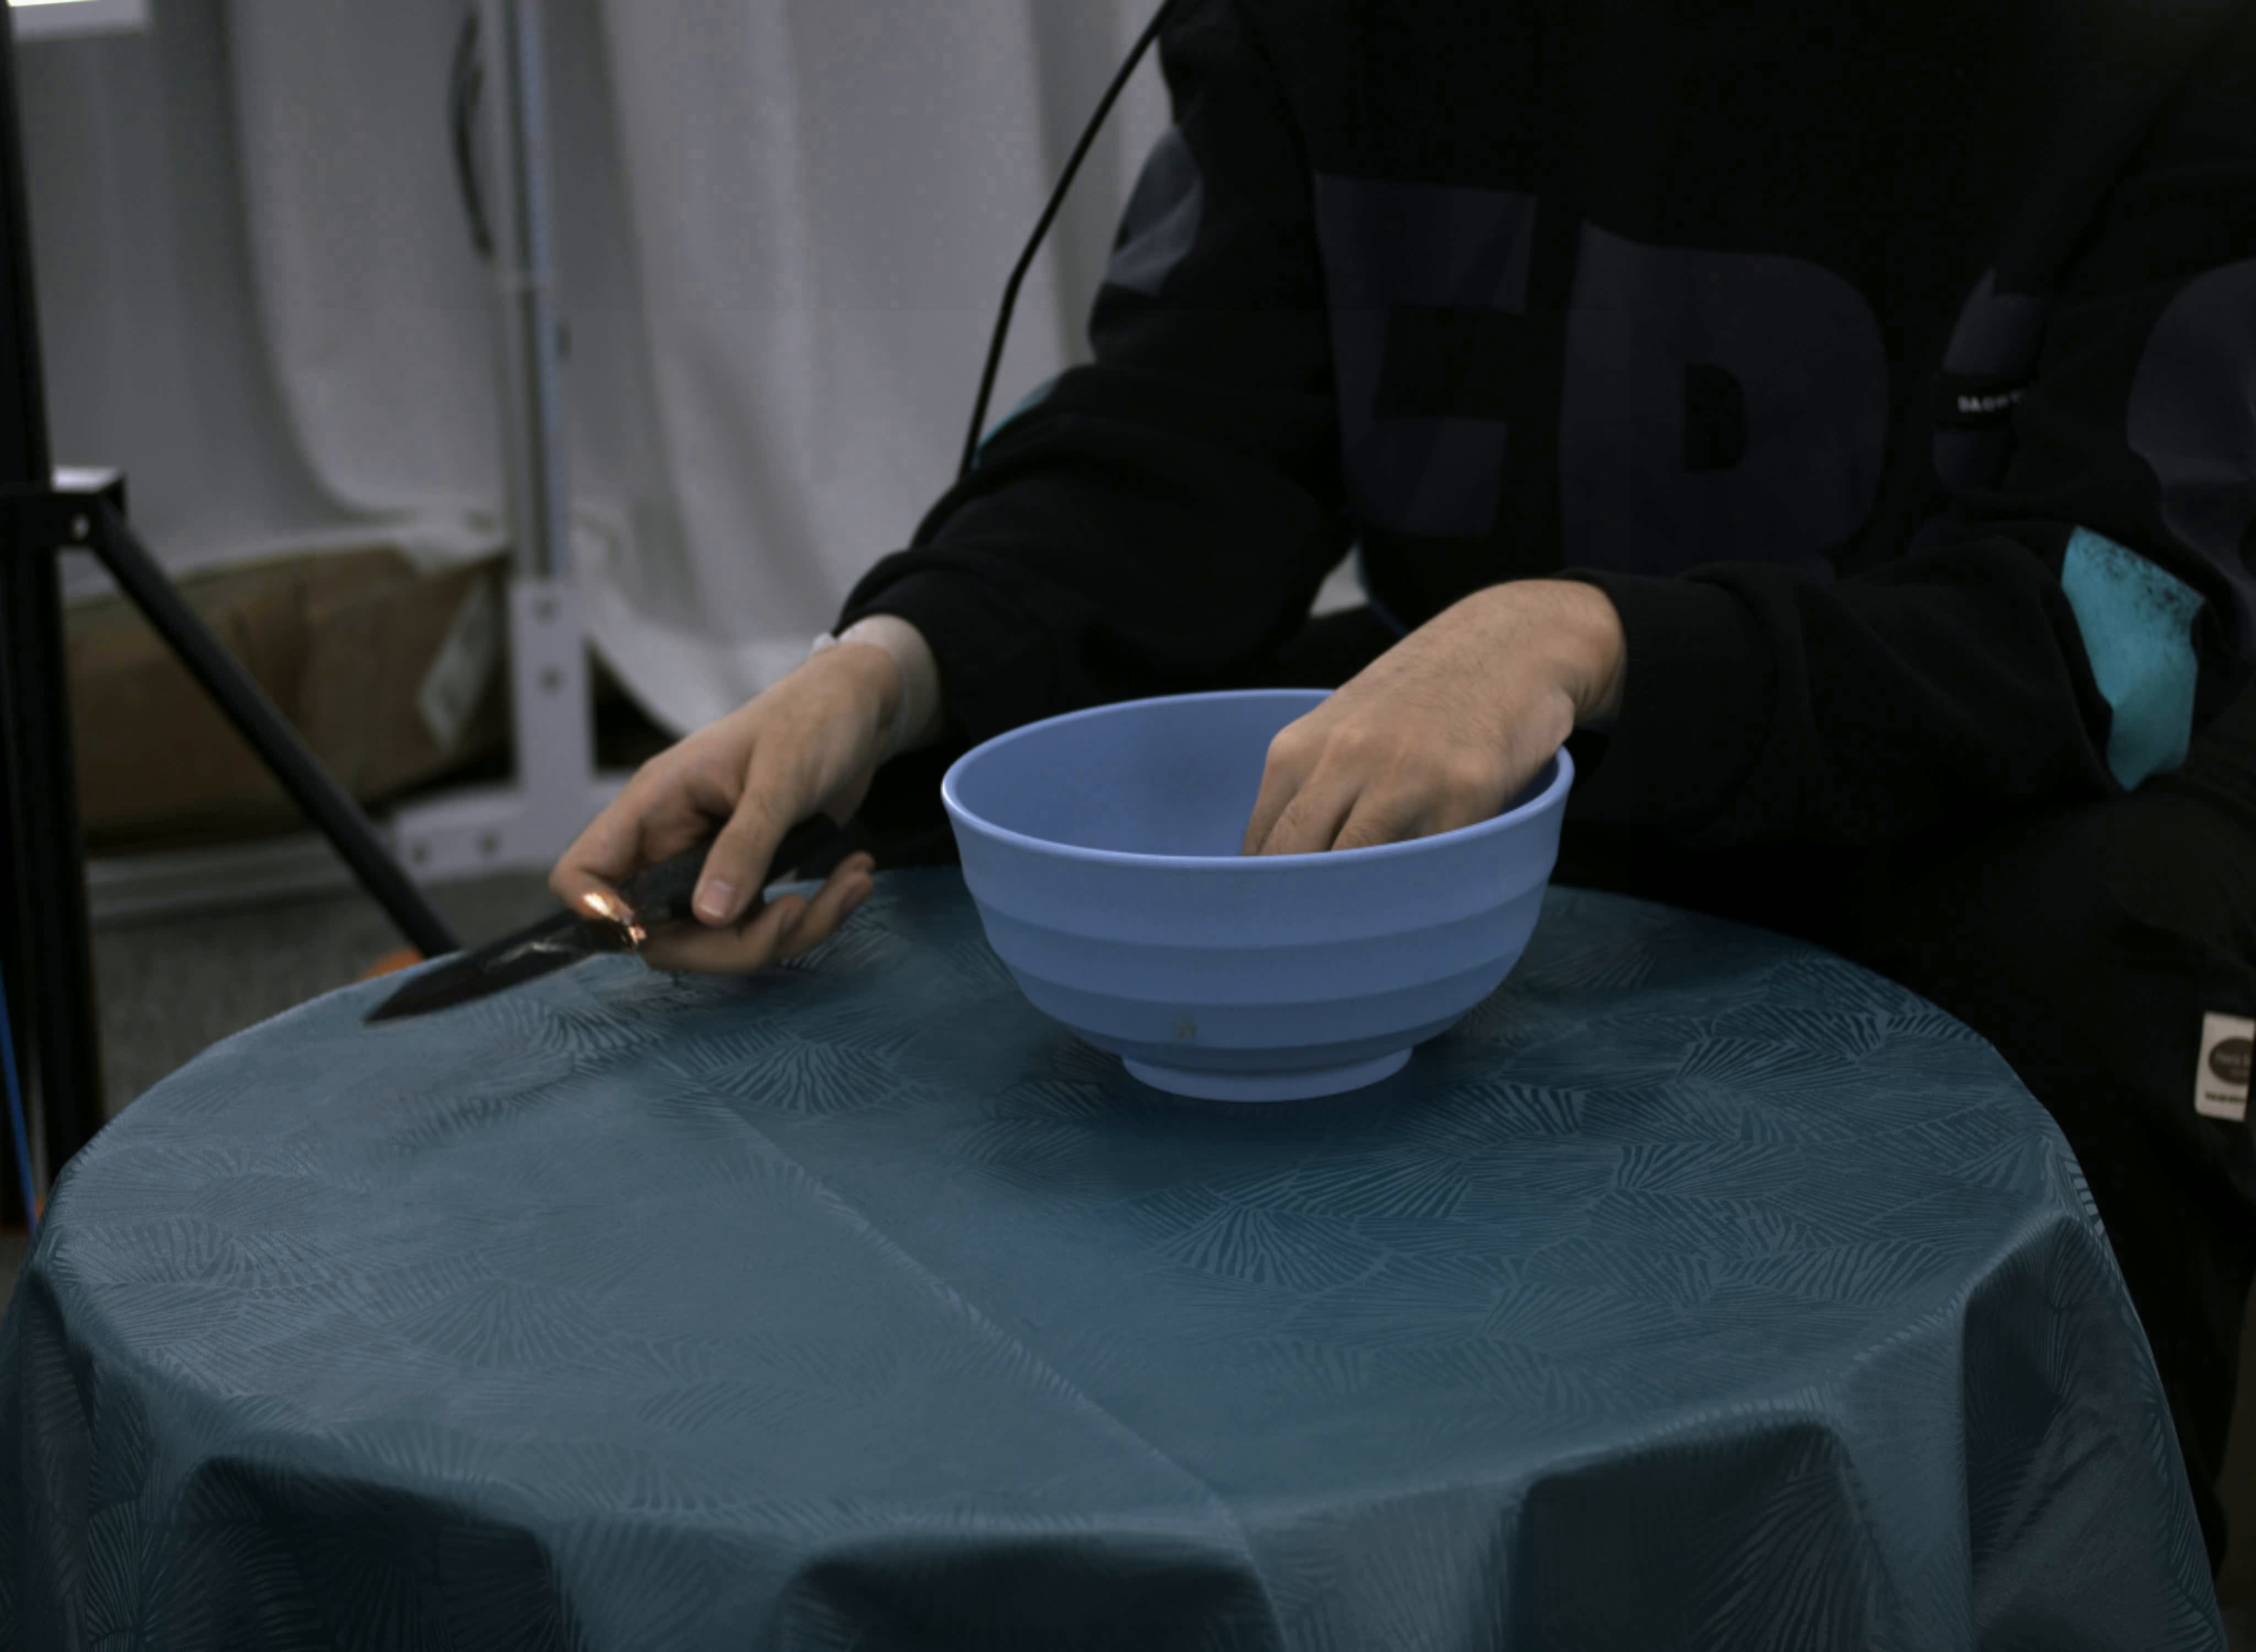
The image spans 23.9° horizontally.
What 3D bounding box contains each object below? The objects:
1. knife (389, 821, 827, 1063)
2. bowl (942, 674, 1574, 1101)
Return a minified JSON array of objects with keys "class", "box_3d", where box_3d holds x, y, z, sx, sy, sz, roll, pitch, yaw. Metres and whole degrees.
[{"class":"knife","box_3d":[-0.166,0.036,1.709,0.026,0.017,0.221,36,34,20]},{"class":"bowl","box_3d":[0.042,0.026,1.658,0.195,0.095,0.197,-3,19,0]}]
